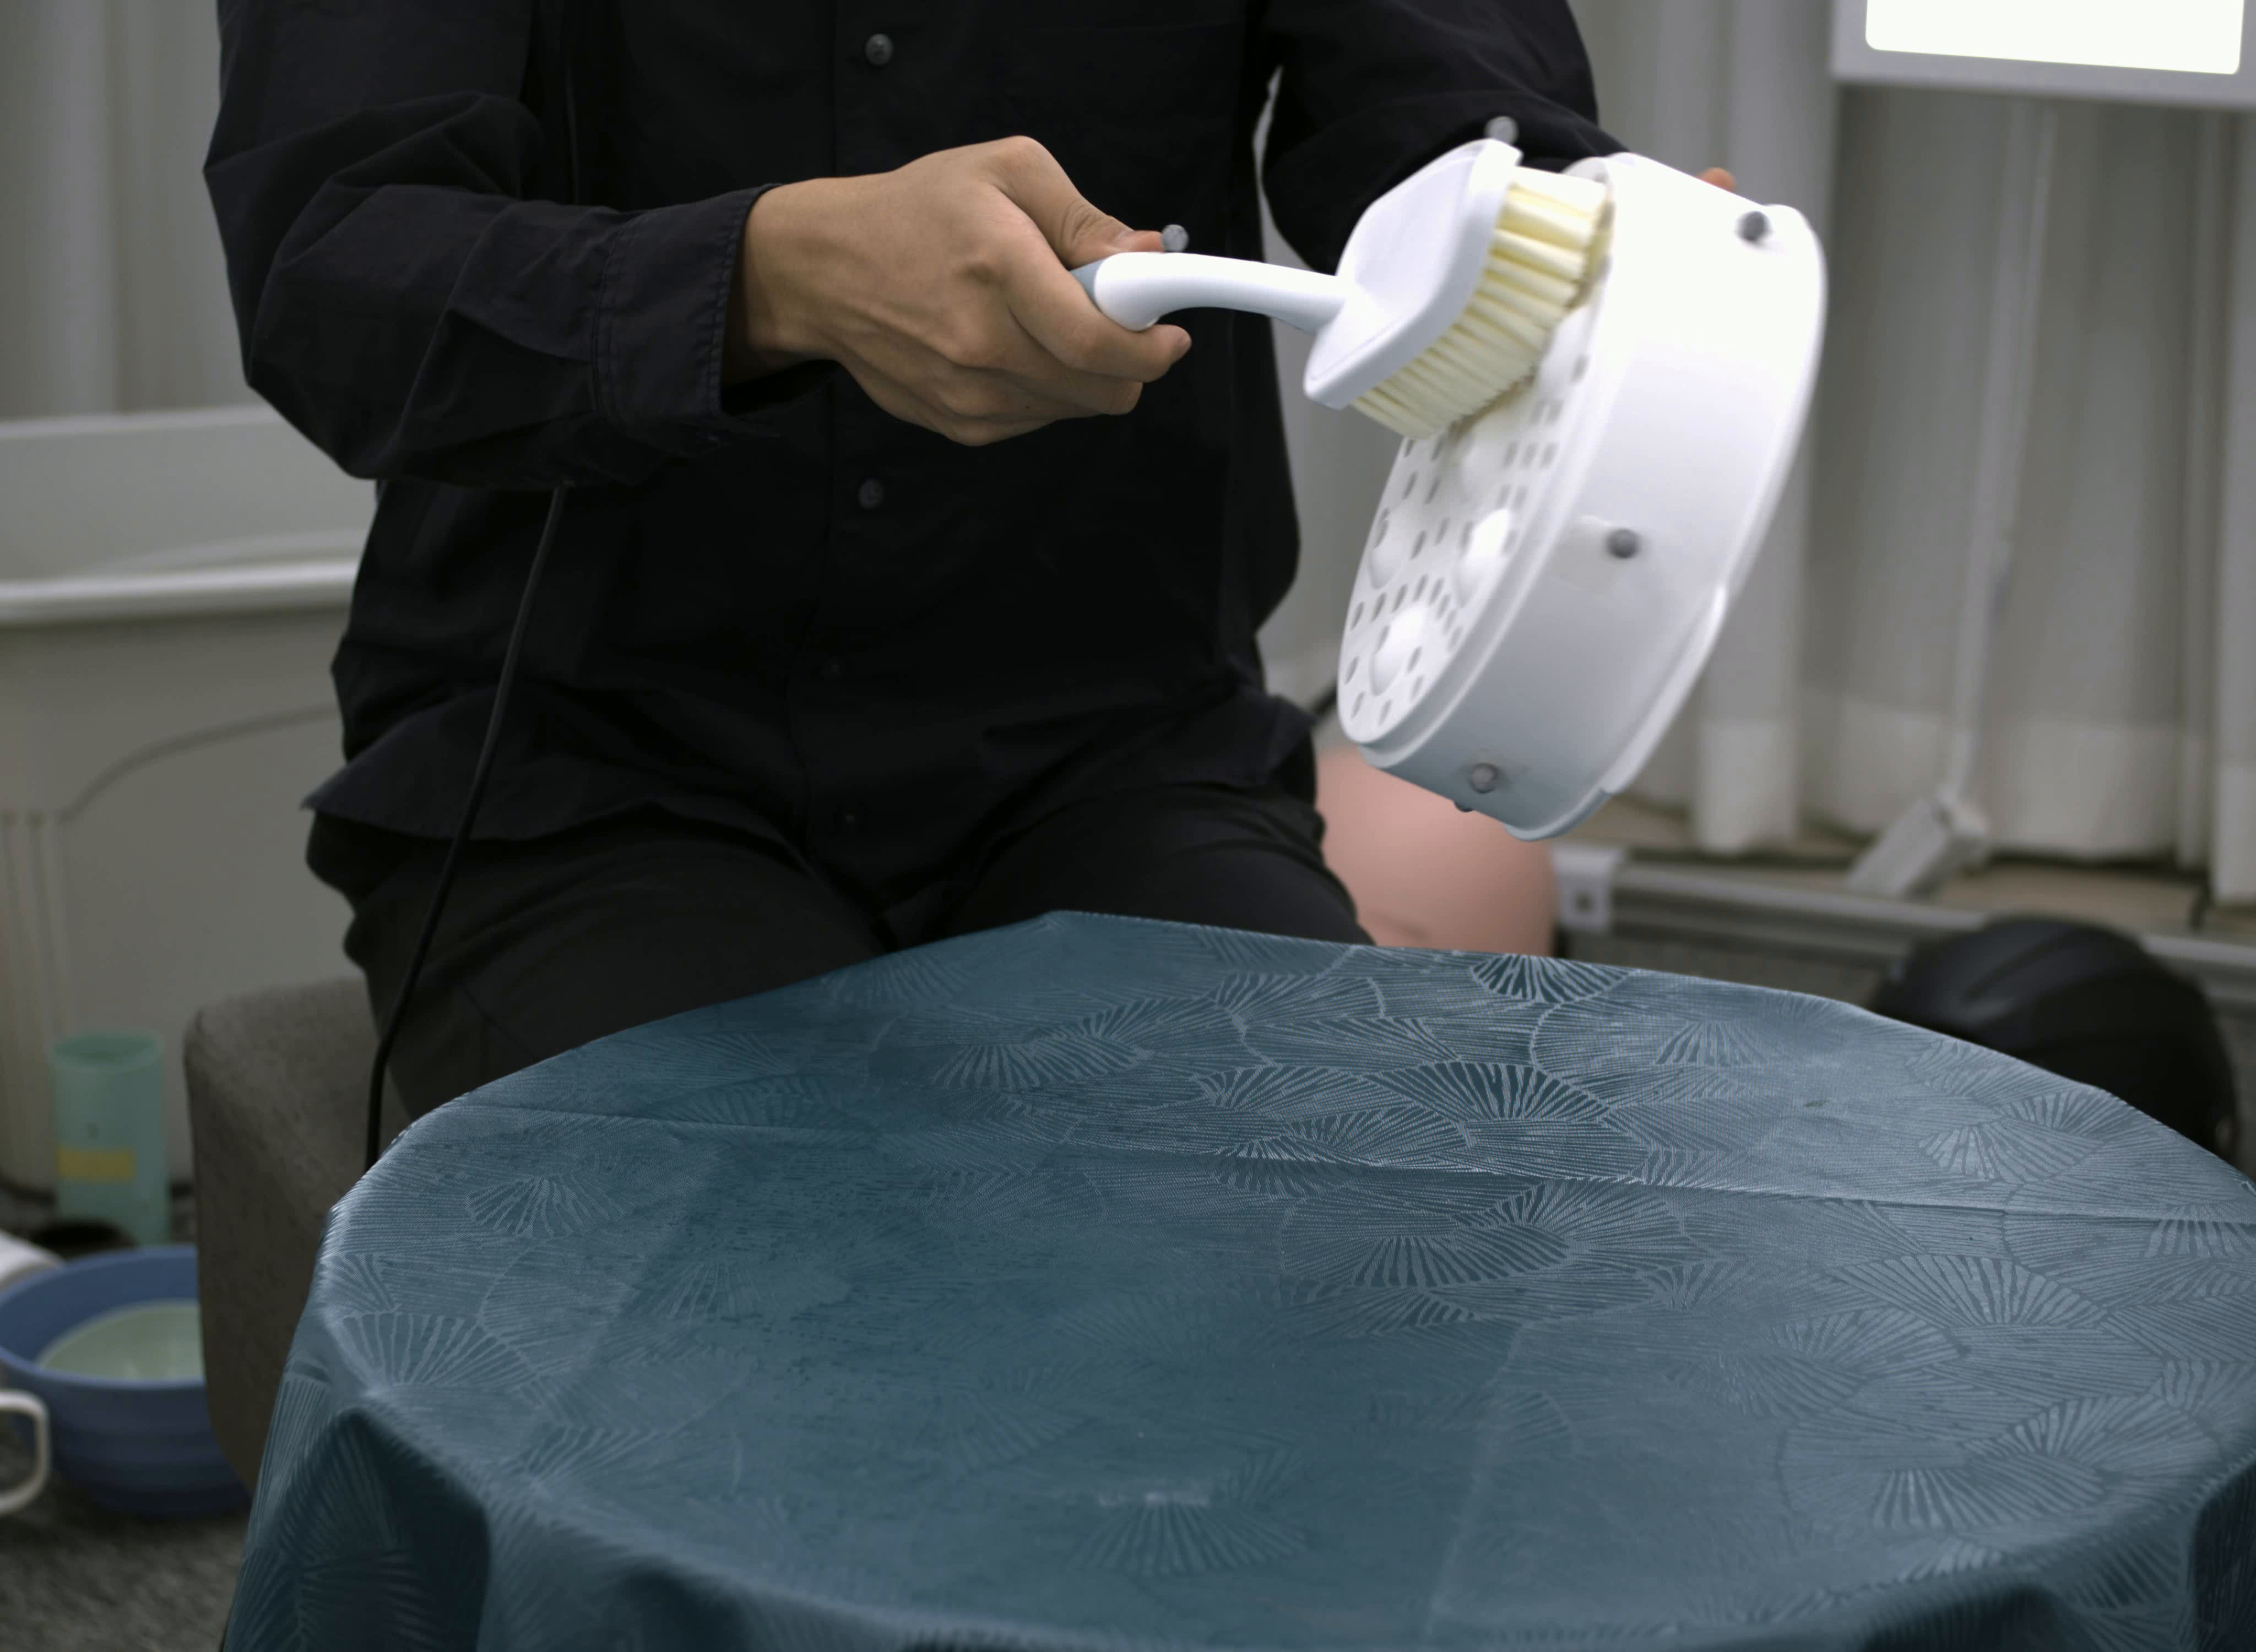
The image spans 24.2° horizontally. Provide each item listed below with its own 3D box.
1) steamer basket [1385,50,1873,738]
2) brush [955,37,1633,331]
[{"bbox_3d":[0.143,-0.130,1.562,0.069,0.203,0.228,22,31,-12],"label":"steamer basket"},{"bbox_3d":[0.061,-0.187,1.639,0.083,0.085,0.323,-37,14,-30],"label":"brush"}]
